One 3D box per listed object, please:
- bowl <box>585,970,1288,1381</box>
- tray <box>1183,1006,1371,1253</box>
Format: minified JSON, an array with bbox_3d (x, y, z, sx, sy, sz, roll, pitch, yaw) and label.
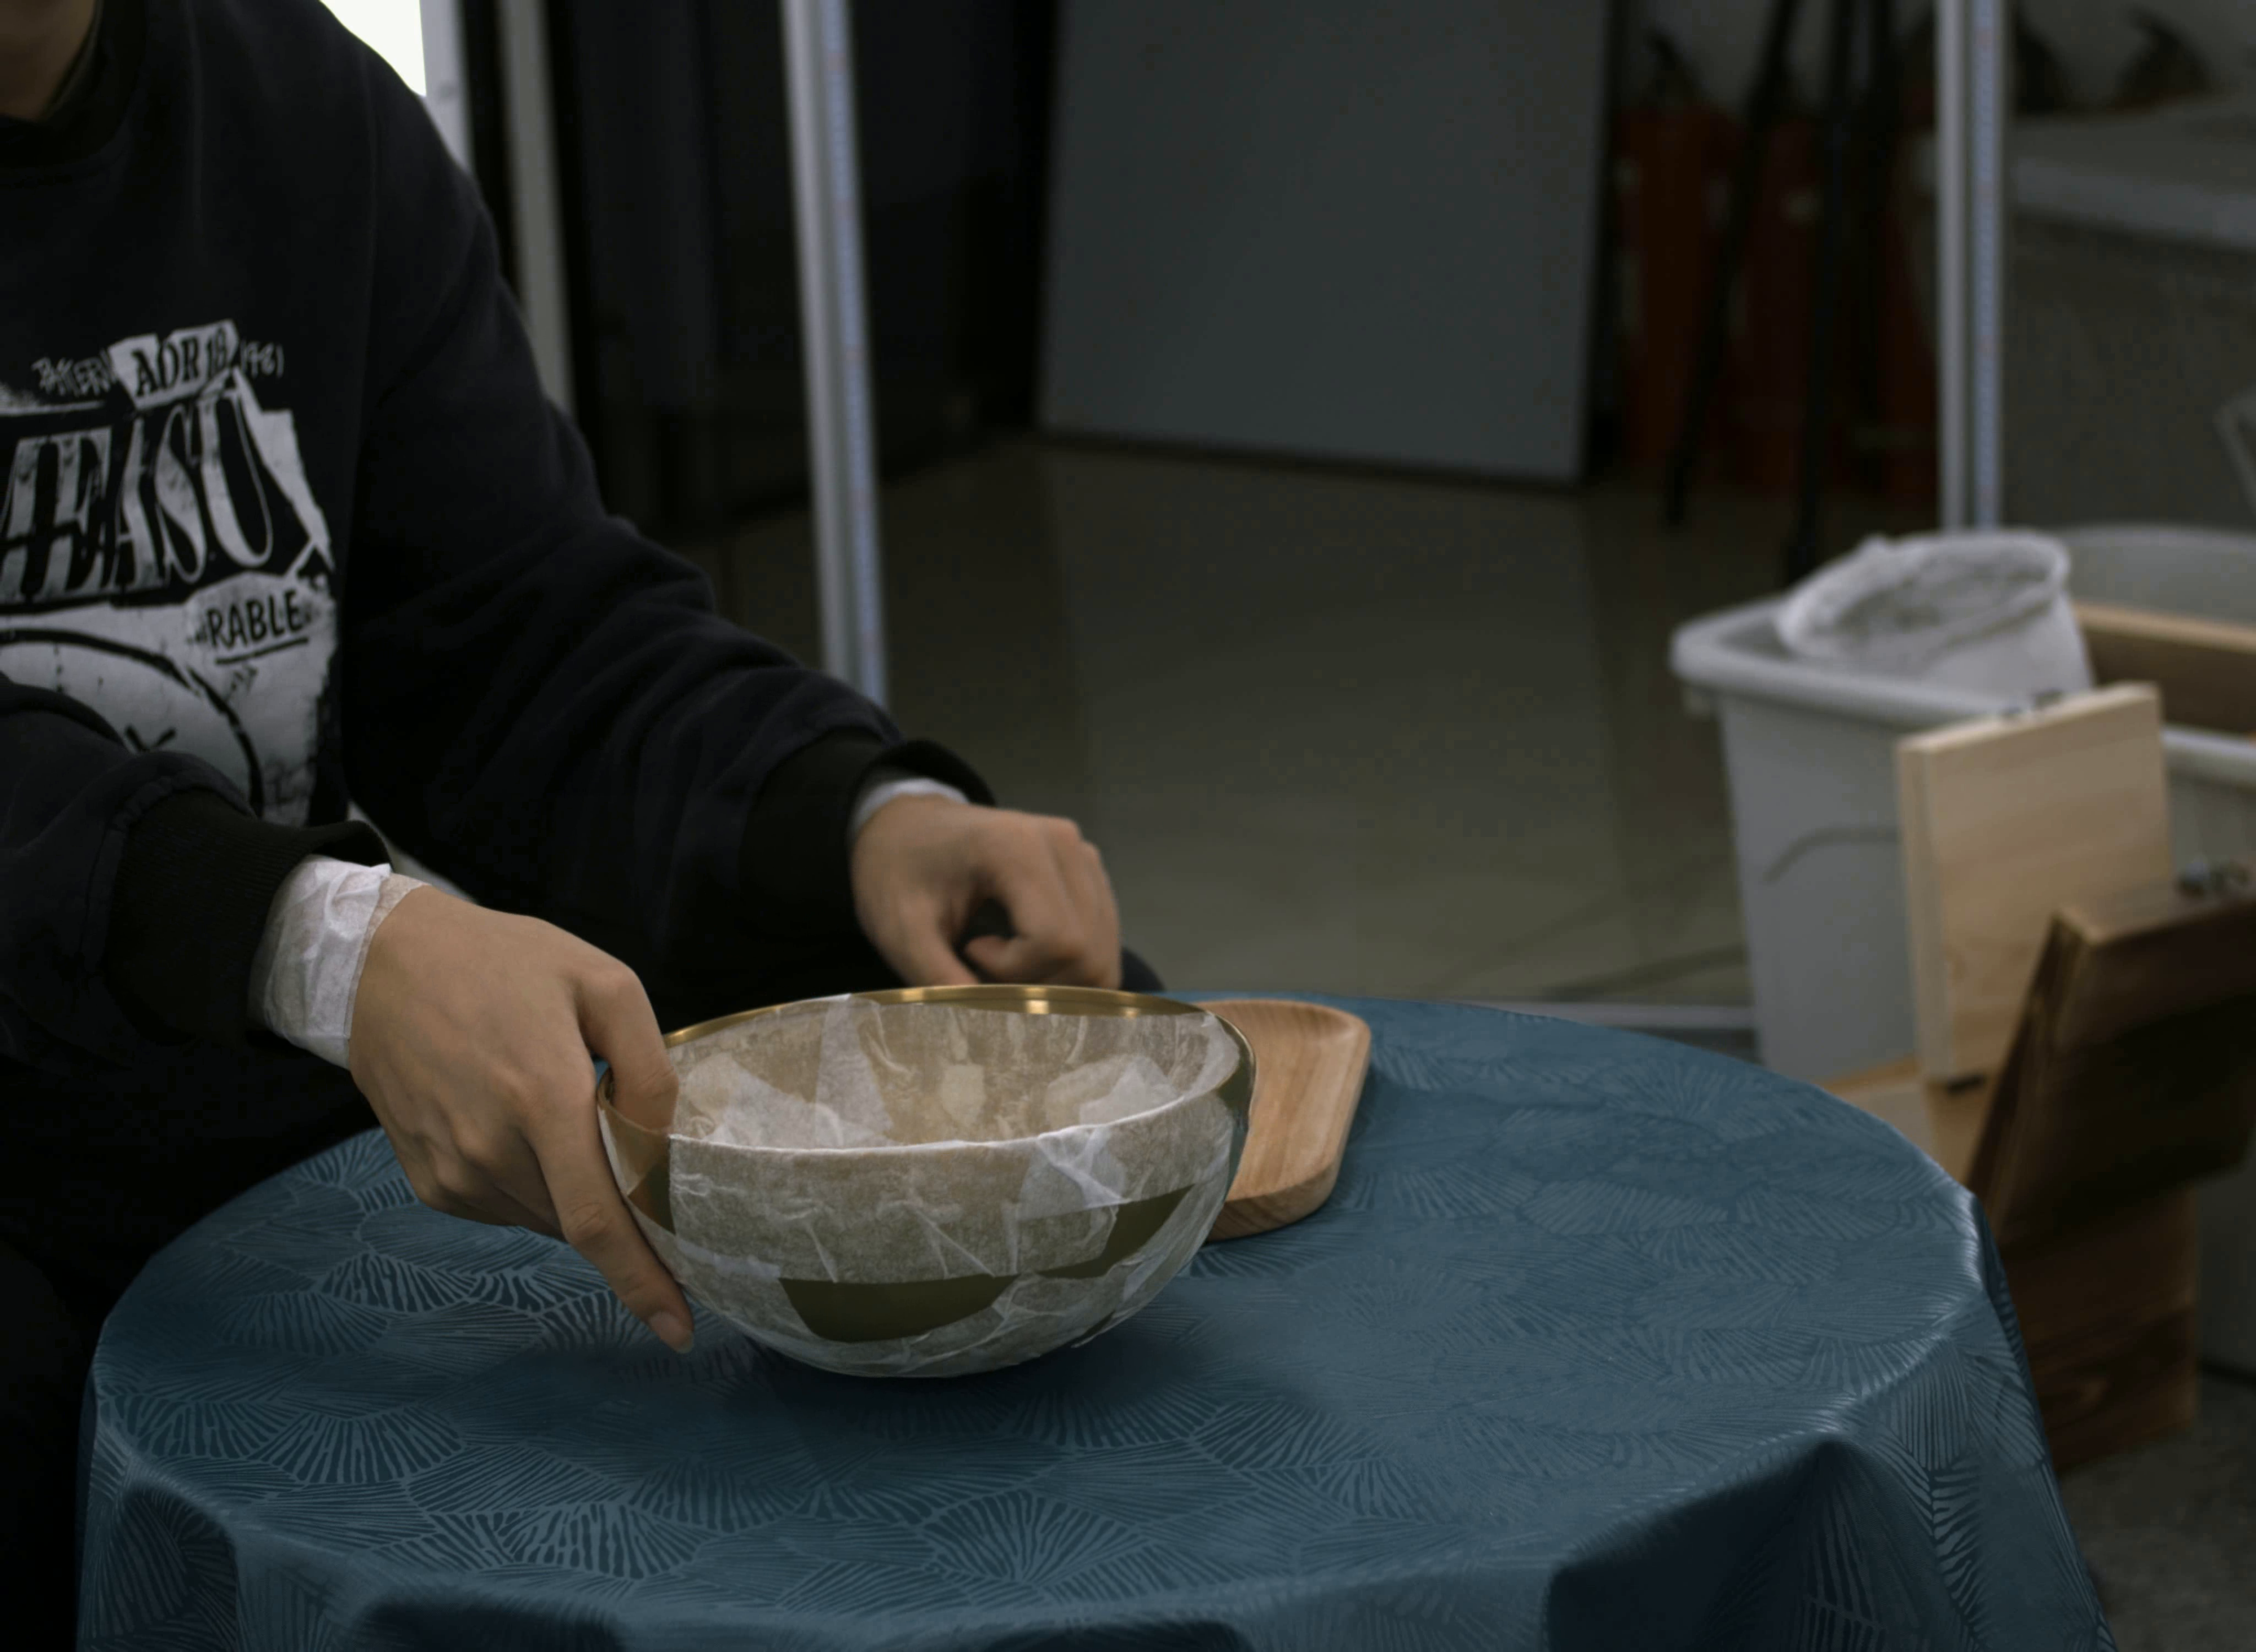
[{"bbox_3d":[-0.056,0.112,1.626,0.212,0.095,0.215,-4,12,0],"label":"bowl"},{"bbox_3d":[0.028,0.100,1.816,0.101,0.020,0.231,-5,16,8],"label":"tray"}]
